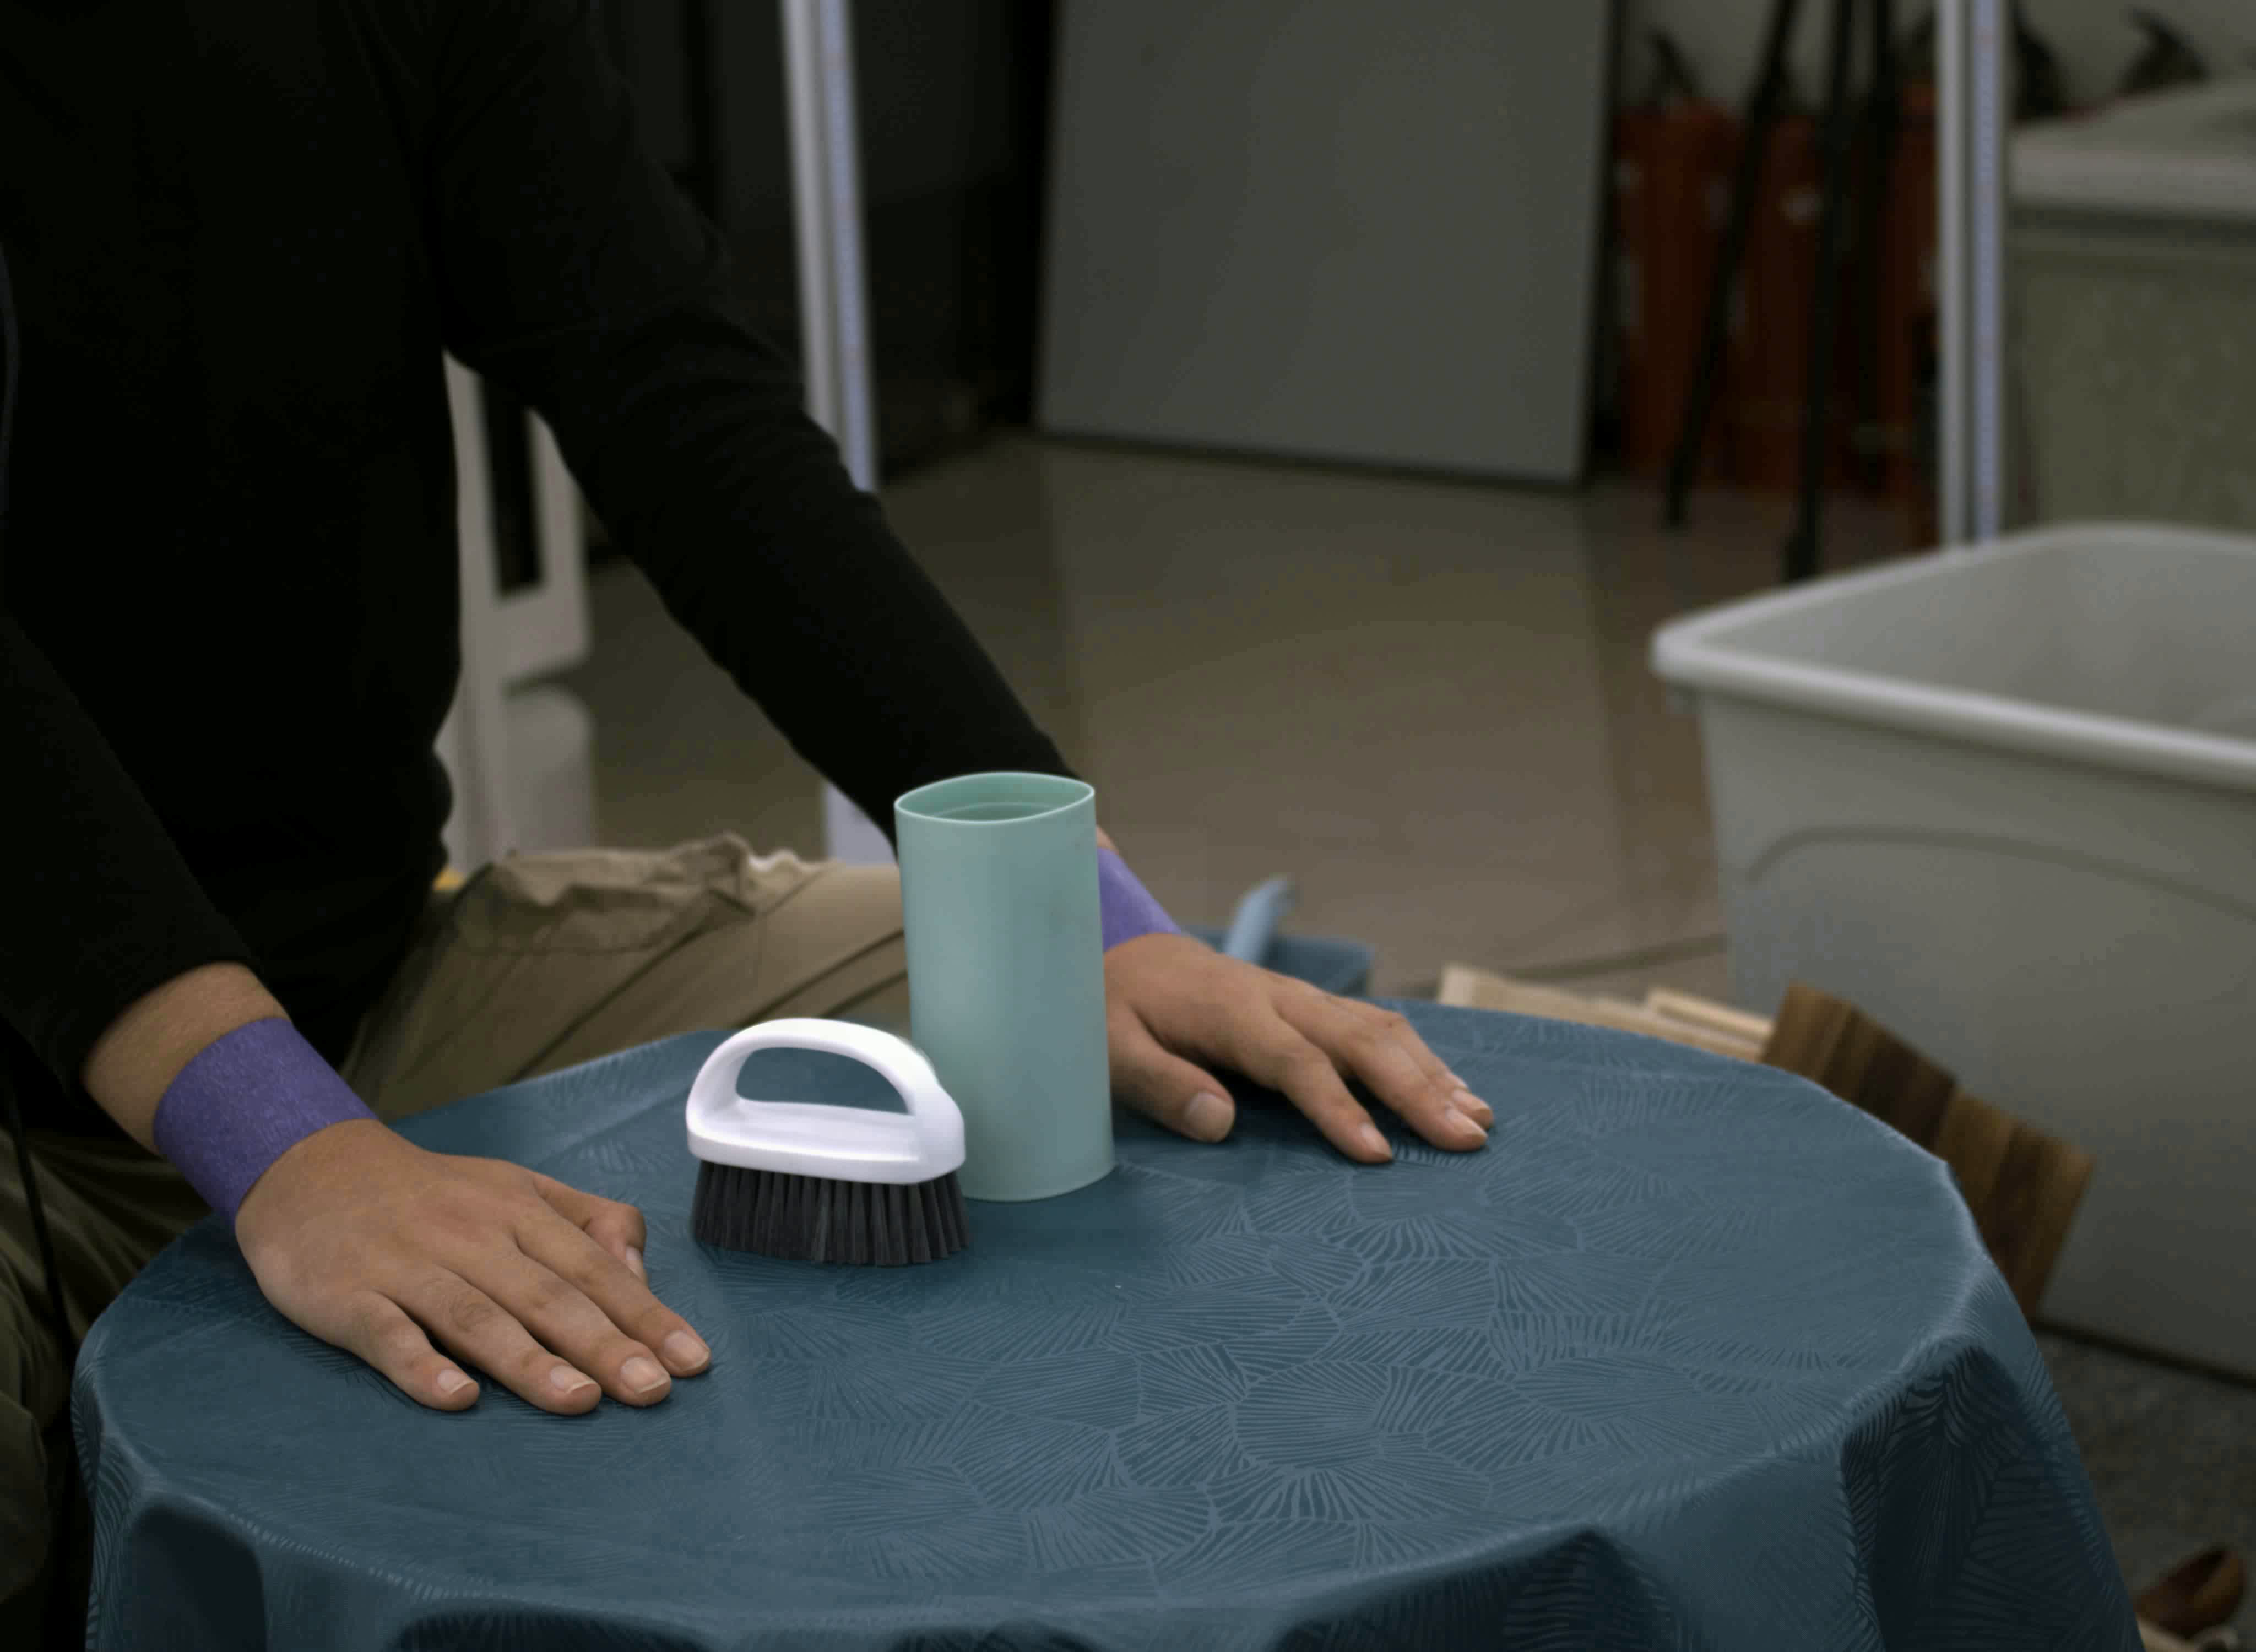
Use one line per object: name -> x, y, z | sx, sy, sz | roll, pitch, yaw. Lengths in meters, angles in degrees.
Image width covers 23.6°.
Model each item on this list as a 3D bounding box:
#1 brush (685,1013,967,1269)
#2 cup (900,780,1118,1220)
brush -> -0.098, 0.097, 1.735 | 0.099, 0.073, 0.049 | 7, 15, 32
cup -> -0.039, 0.057, 1.782 | 0.066, 0.134, 0.067 | -3, 14, 0
